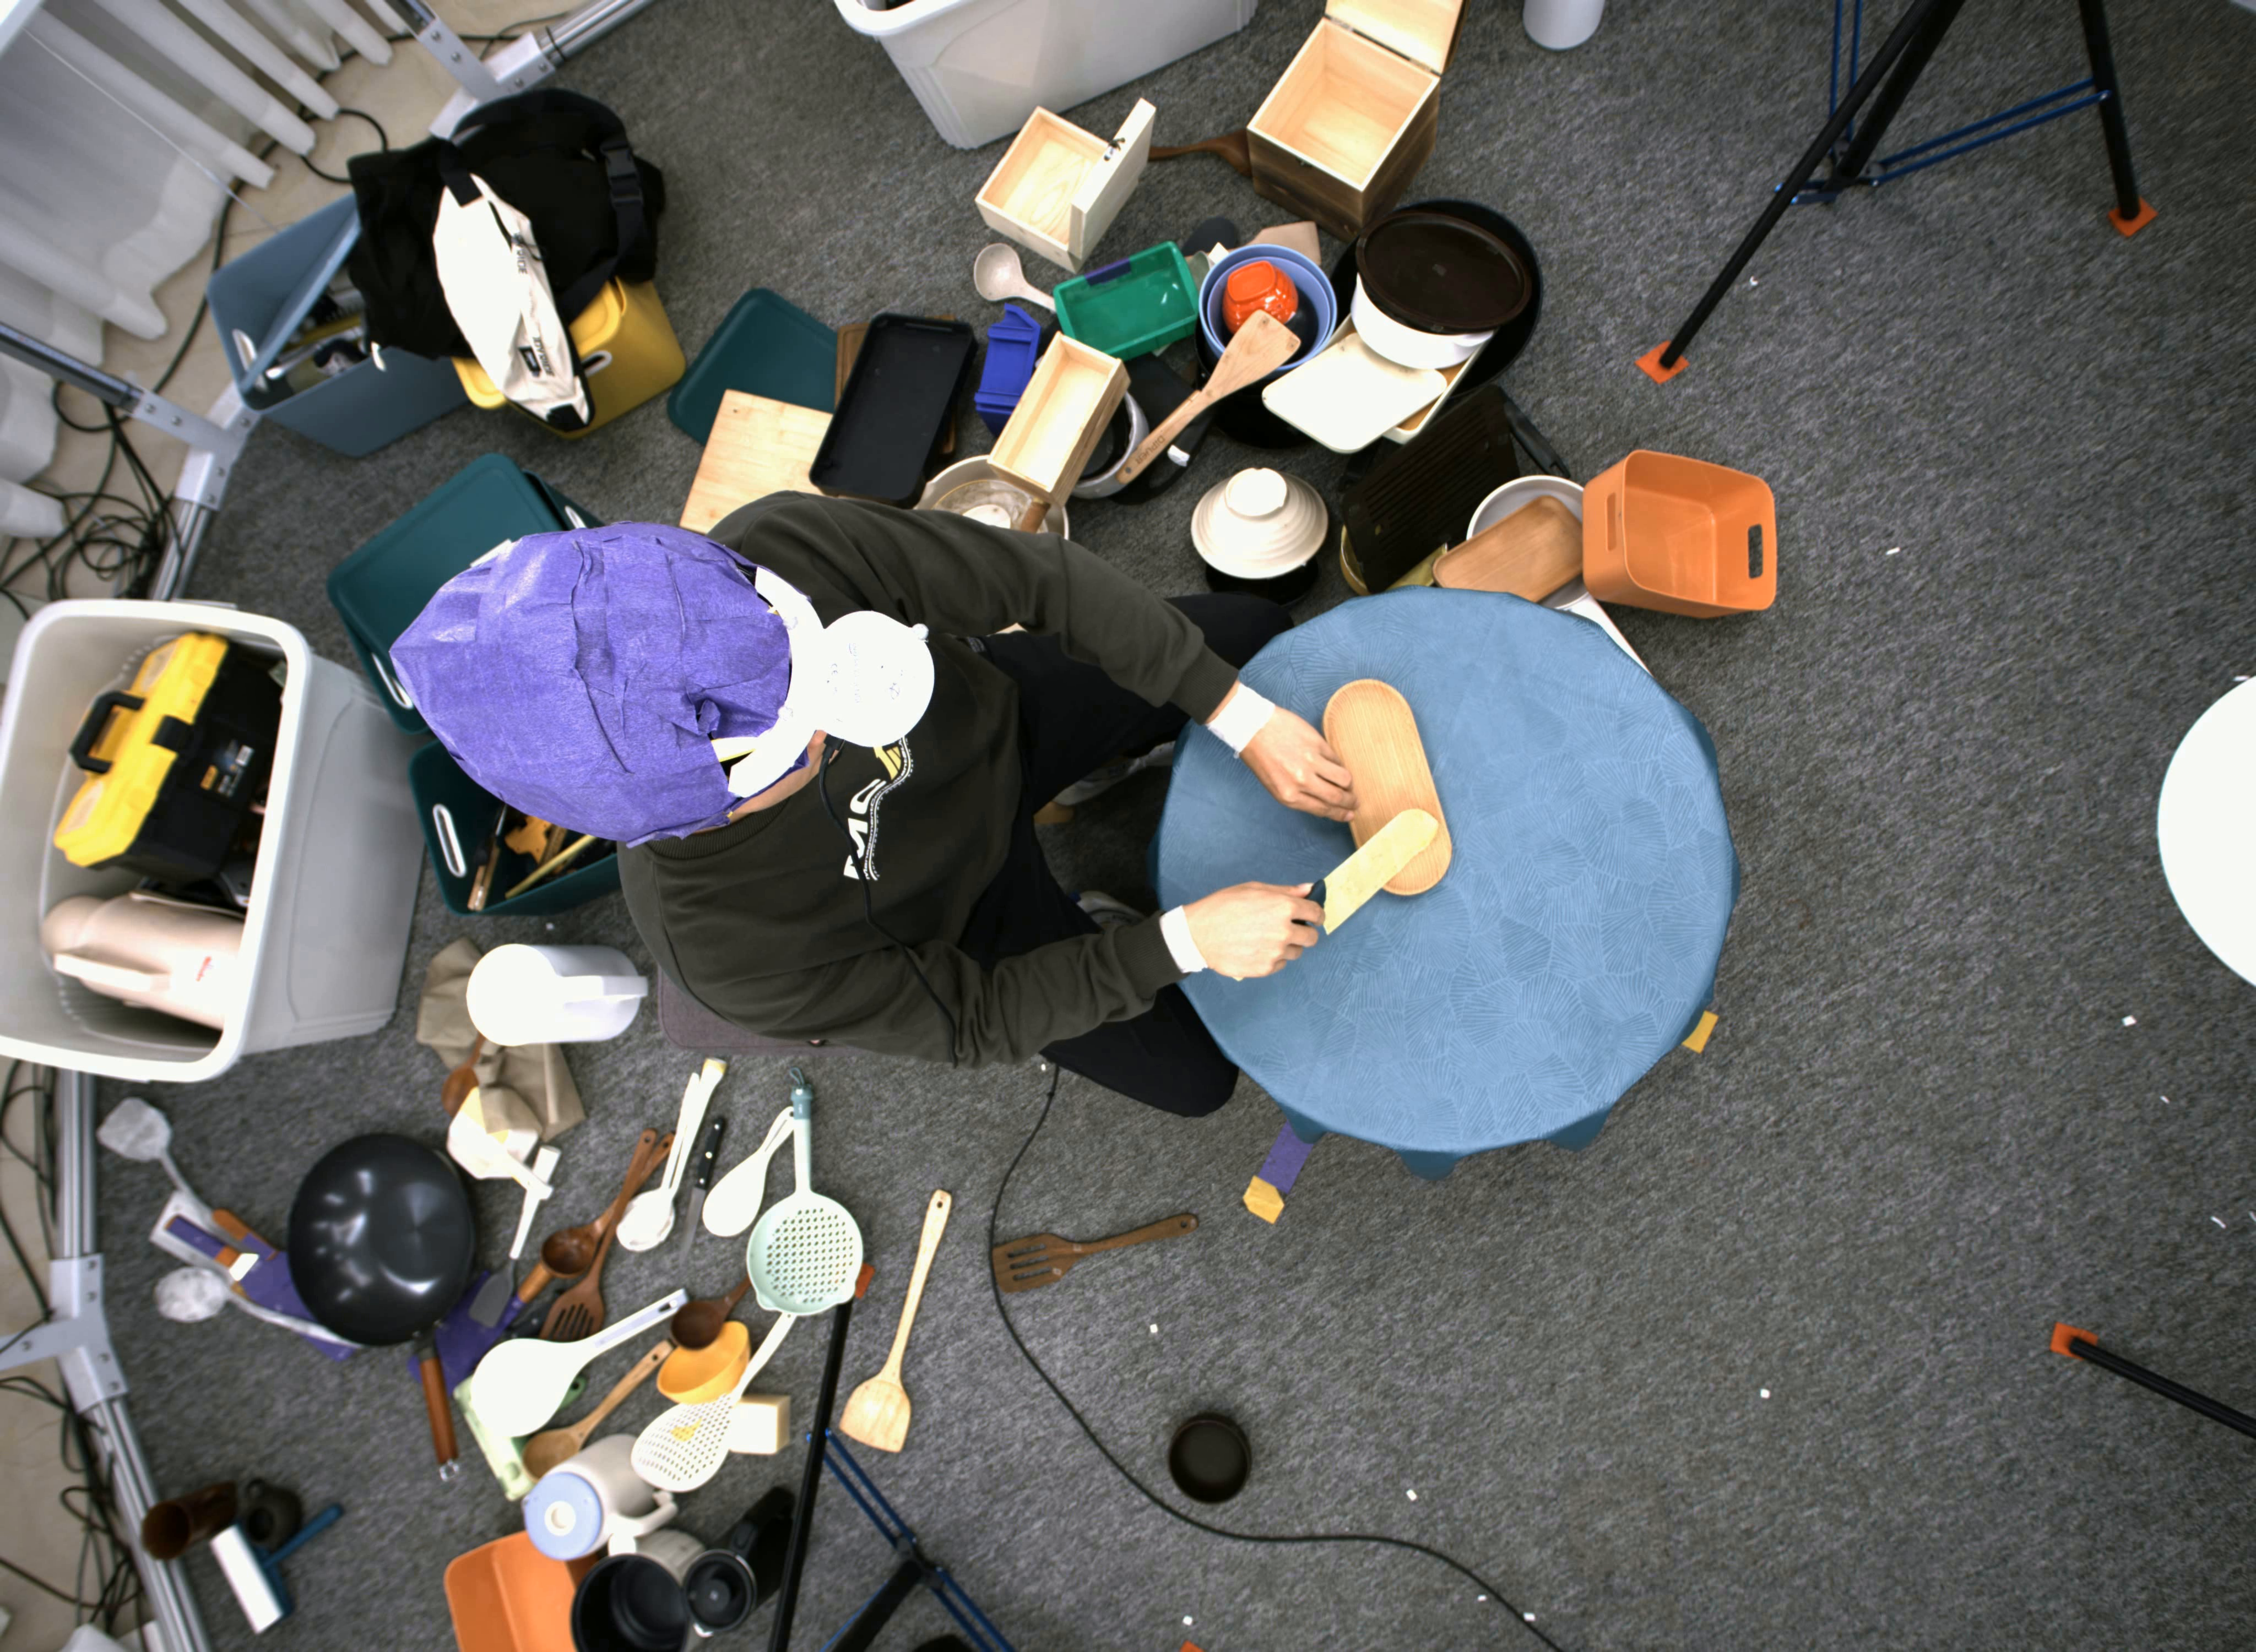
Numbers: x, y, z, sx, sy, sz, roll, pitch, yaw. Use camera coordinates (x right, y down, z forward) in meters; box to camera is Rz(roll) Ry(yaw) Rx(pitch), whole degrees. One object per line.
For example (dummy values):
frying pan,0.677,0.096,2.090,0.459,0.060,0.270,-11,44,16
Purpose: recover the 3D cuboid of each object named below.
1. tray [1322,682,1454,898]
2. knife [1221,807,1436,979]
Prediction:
tray,0.270,-0.039,1.439,0.101,0.020,0.231,-17,91,-7
knife,0.208,0.068,1.384,0.286,0.083,0.027,-35,43,-16
